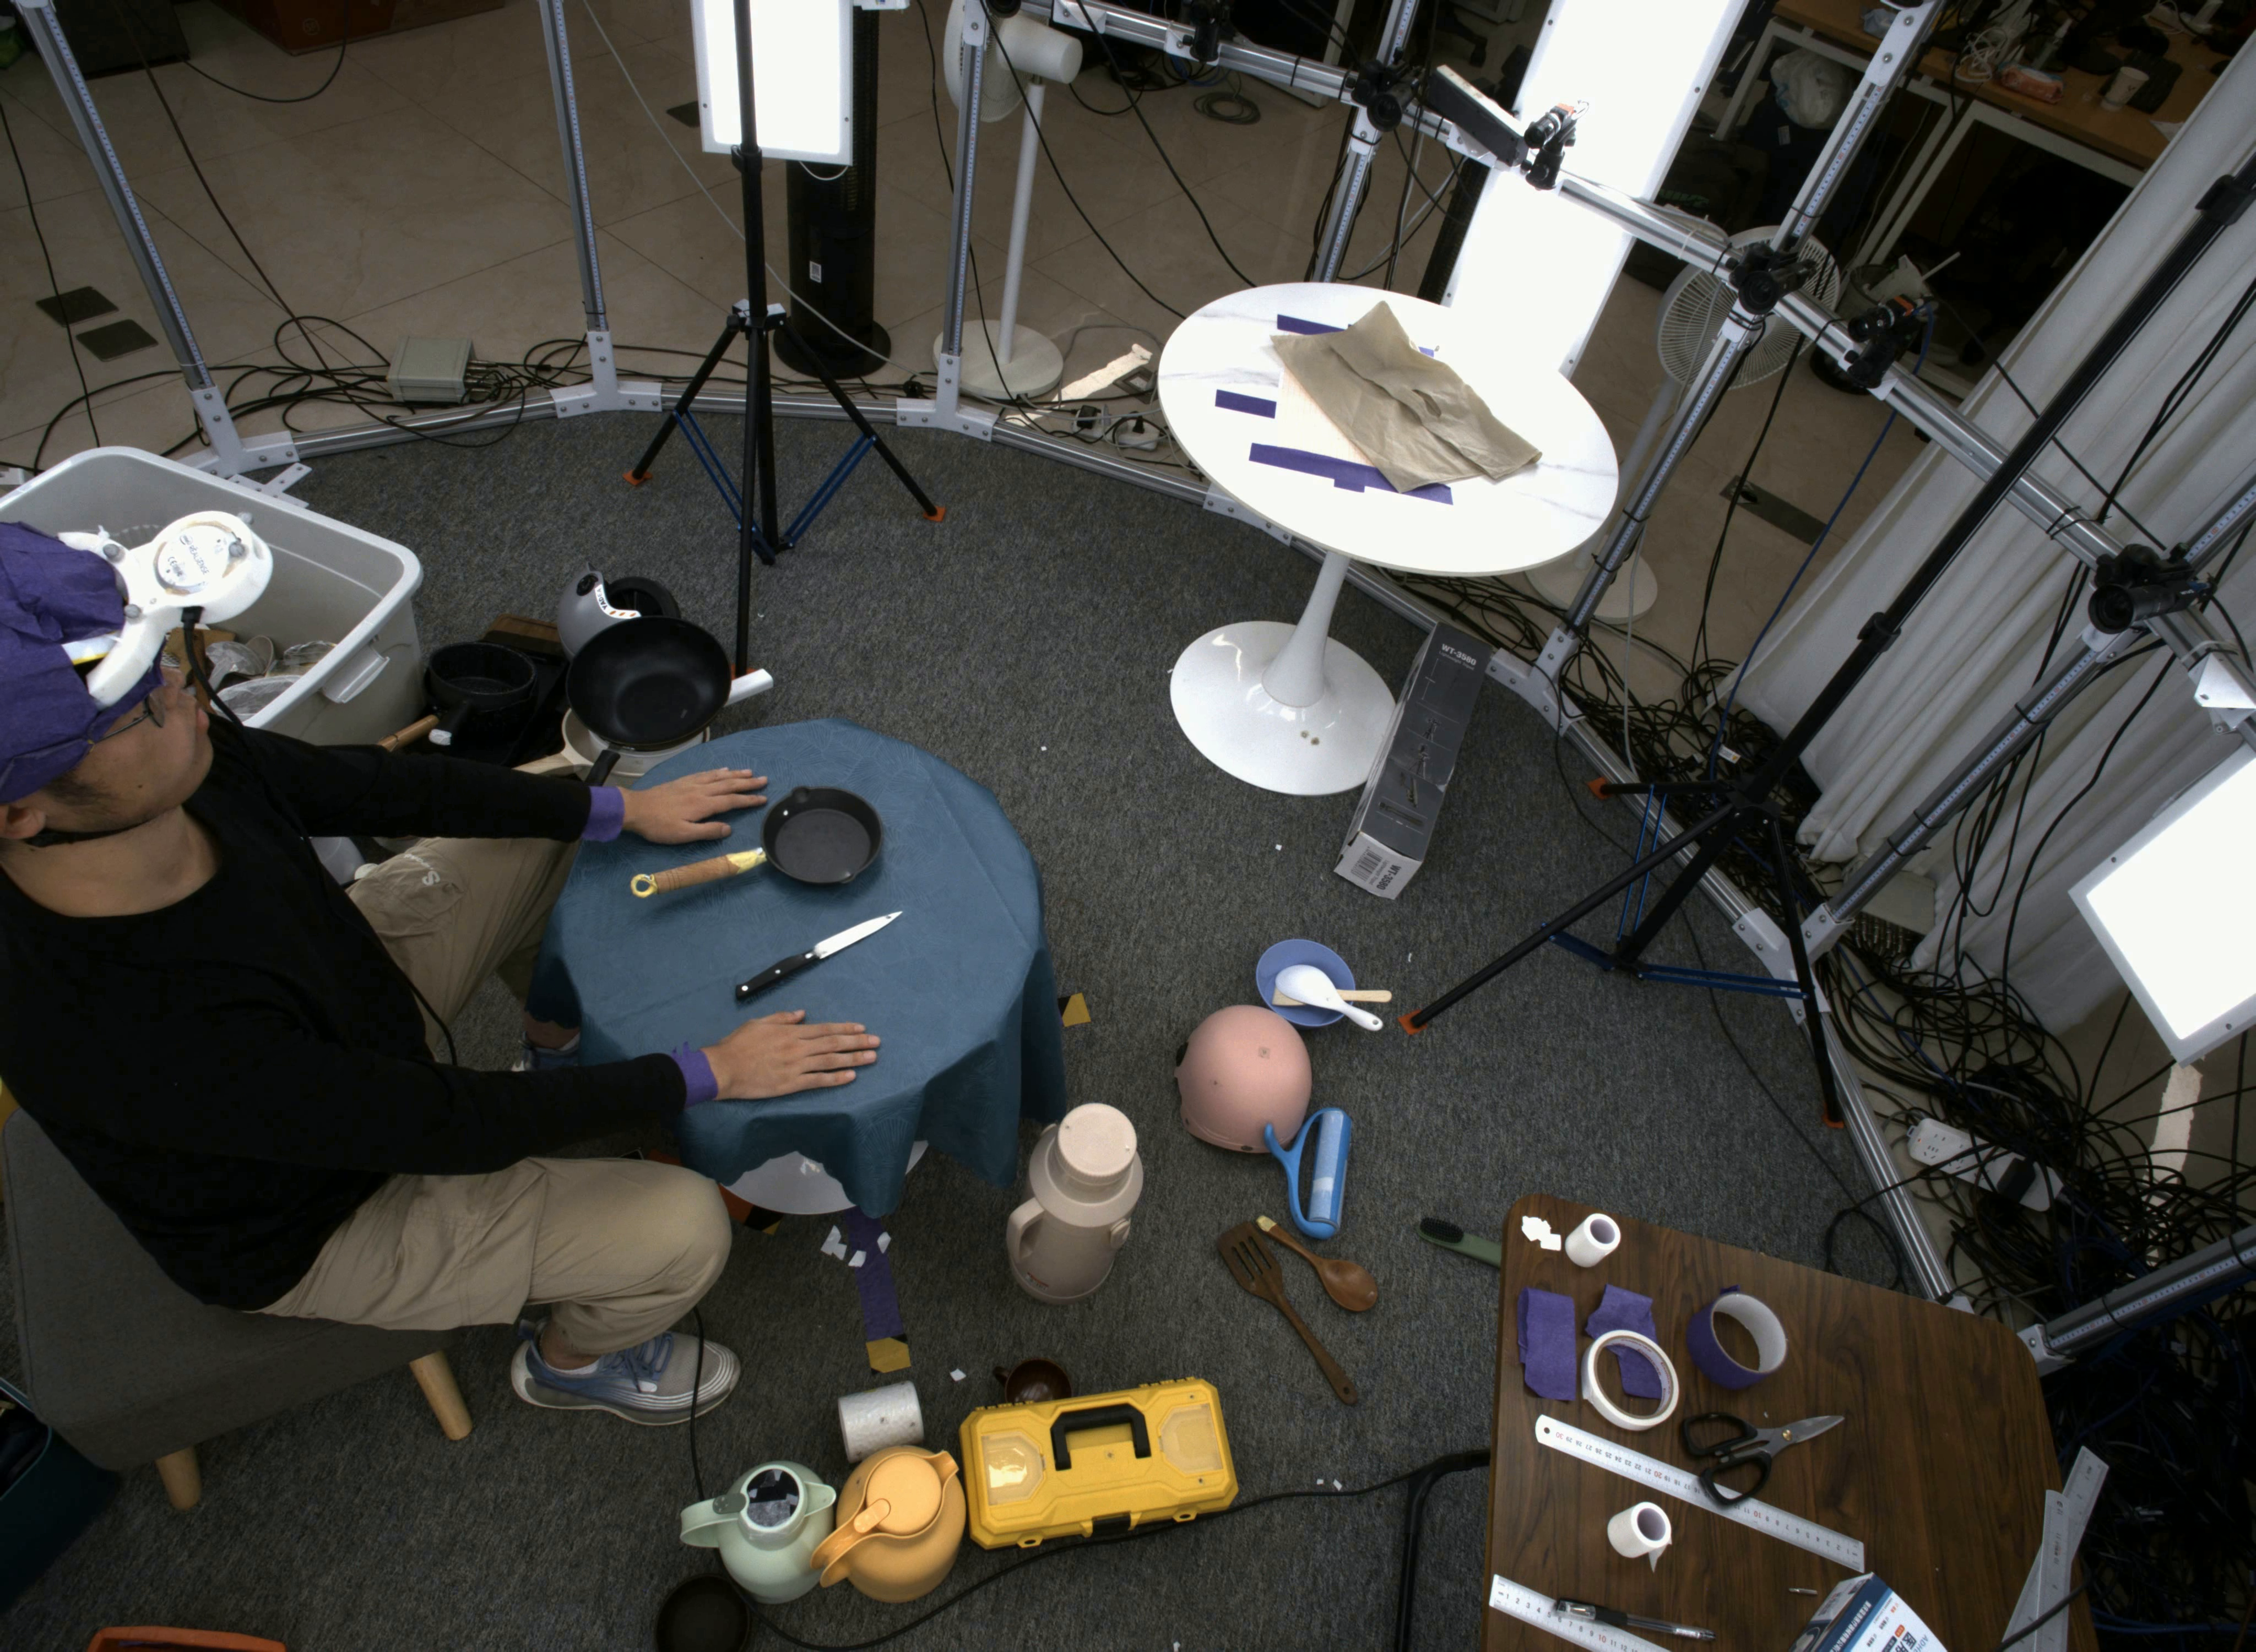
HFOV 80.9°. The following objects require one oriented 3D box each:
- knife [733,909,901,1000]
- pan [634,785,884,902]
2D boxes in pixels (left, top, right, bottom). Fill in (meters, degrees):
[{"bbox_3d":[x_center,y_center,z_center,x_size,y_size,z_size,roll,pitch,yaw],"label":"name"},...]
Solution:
[{"bbox_3d":[-0.379,0.155,1.610,0.239,0.016,0.024,-28,63,-33],"label":"knife"},{"bbox_3d":[-0.470,0.038,1.651,0.326,0.050,0.164,-19,60,-25],"label":"pan"}]
